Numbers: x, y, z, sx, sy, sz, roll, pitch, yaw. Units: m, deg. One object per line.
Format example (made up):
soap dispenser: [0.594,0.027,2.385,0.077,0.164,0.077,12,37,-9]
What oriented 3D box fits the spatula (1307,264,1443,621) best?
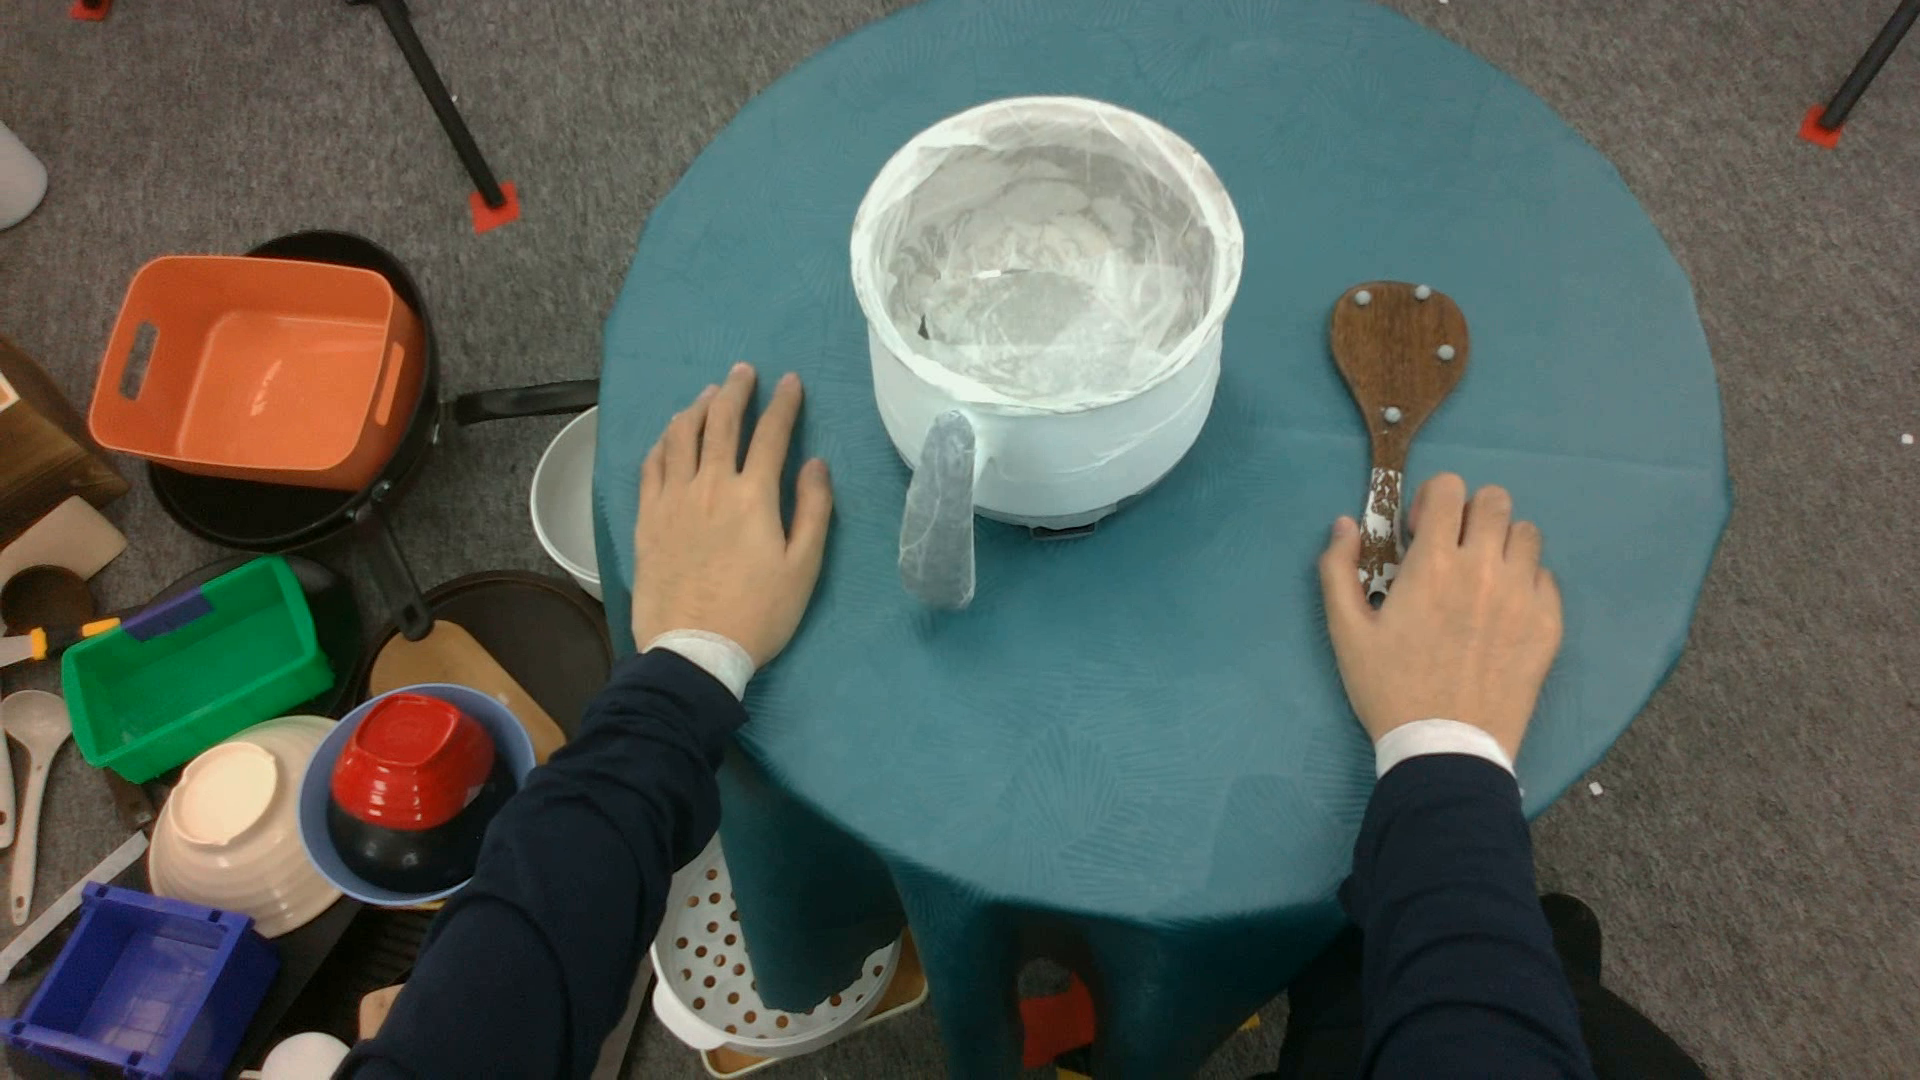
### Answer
spatula: [0.209,-0.057,0.716,0.072,0.009,0.216,9,66,8]

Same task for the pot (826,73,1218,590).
pot: [0.021,-0.094,0.665,0.178,0.136,0.234,18,65,13]
